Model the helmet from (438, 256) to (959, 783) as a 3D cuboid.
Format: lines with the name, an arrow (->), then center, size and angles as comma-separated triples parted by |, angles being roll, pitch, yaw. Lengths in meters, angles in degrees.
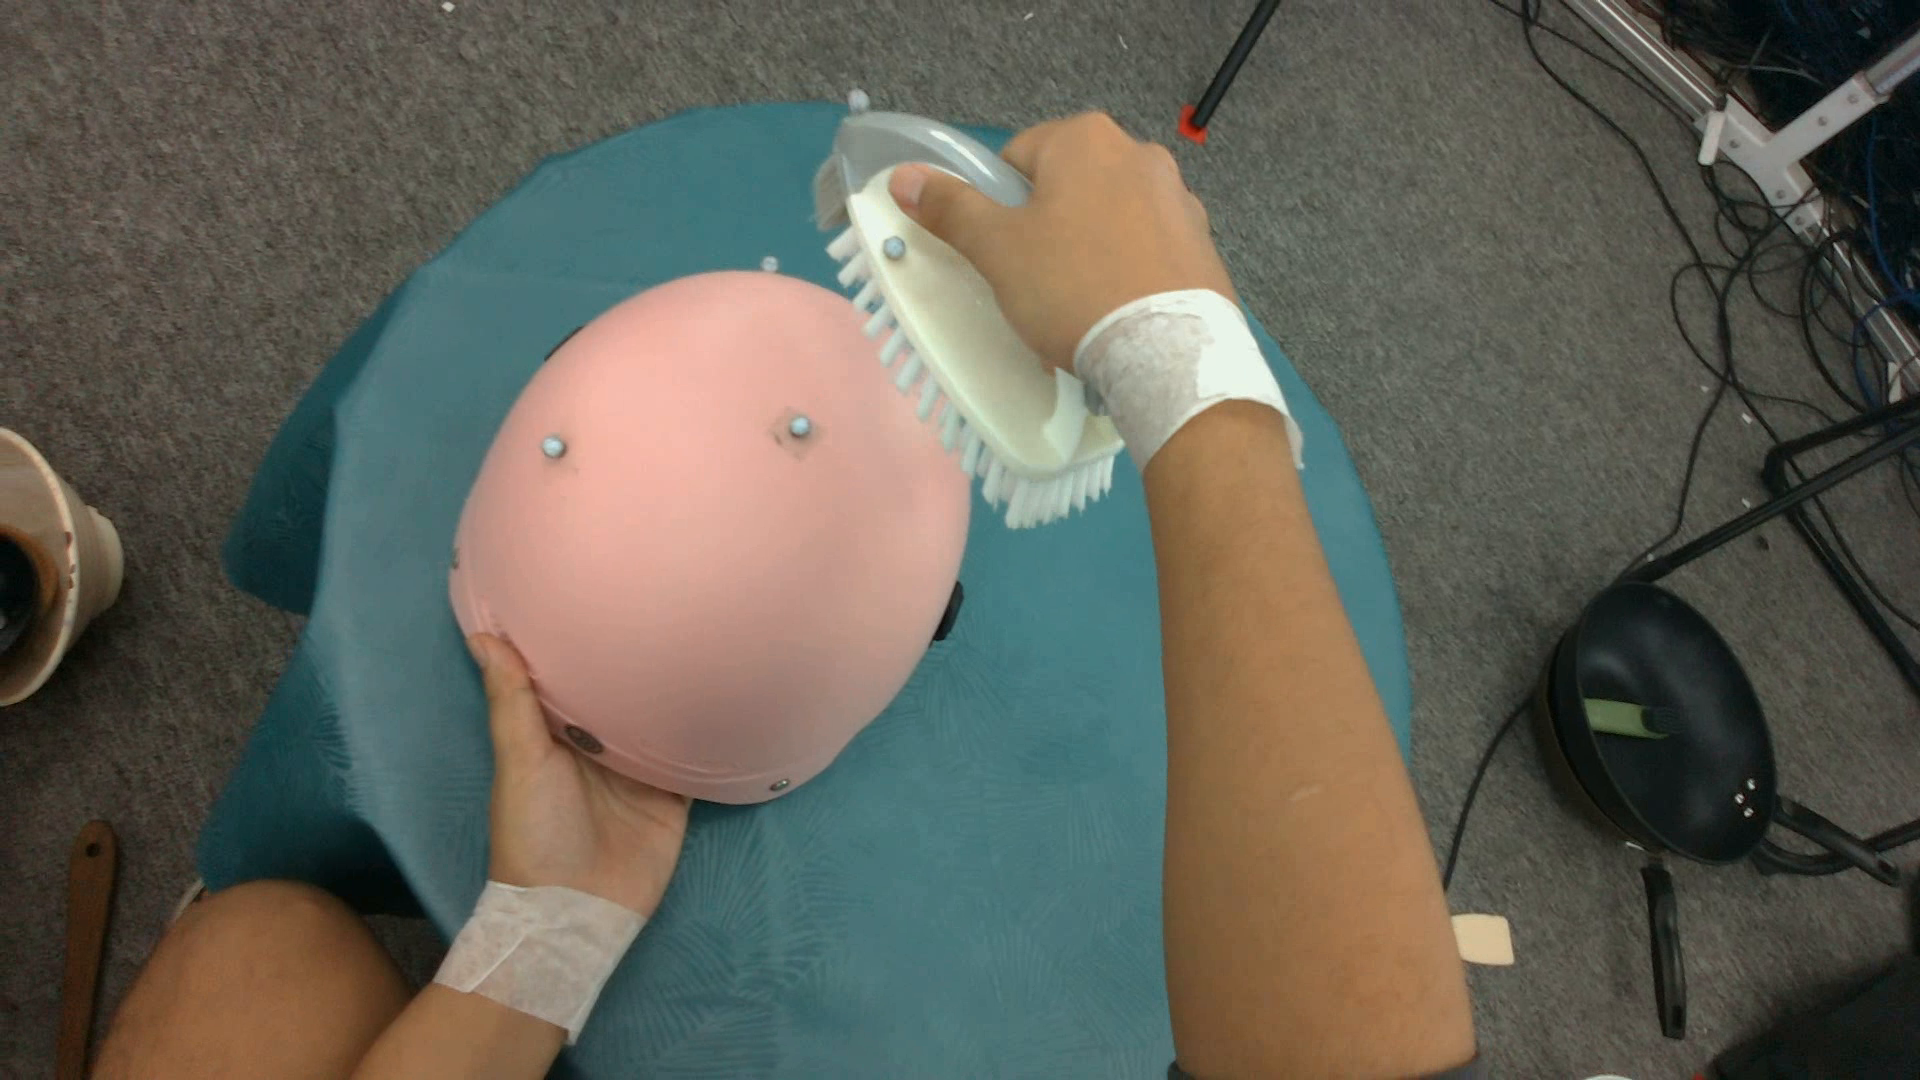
helmet -> -0.097, -0.035, 0.627 | 0.234, 0.158, 0.267 | 34, 51, -6

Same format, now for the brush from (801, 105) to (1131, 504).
brush -> -0.001, -0.105, 0.507 | 0.062, 0.093, 0.176 | -22, 66, -35
